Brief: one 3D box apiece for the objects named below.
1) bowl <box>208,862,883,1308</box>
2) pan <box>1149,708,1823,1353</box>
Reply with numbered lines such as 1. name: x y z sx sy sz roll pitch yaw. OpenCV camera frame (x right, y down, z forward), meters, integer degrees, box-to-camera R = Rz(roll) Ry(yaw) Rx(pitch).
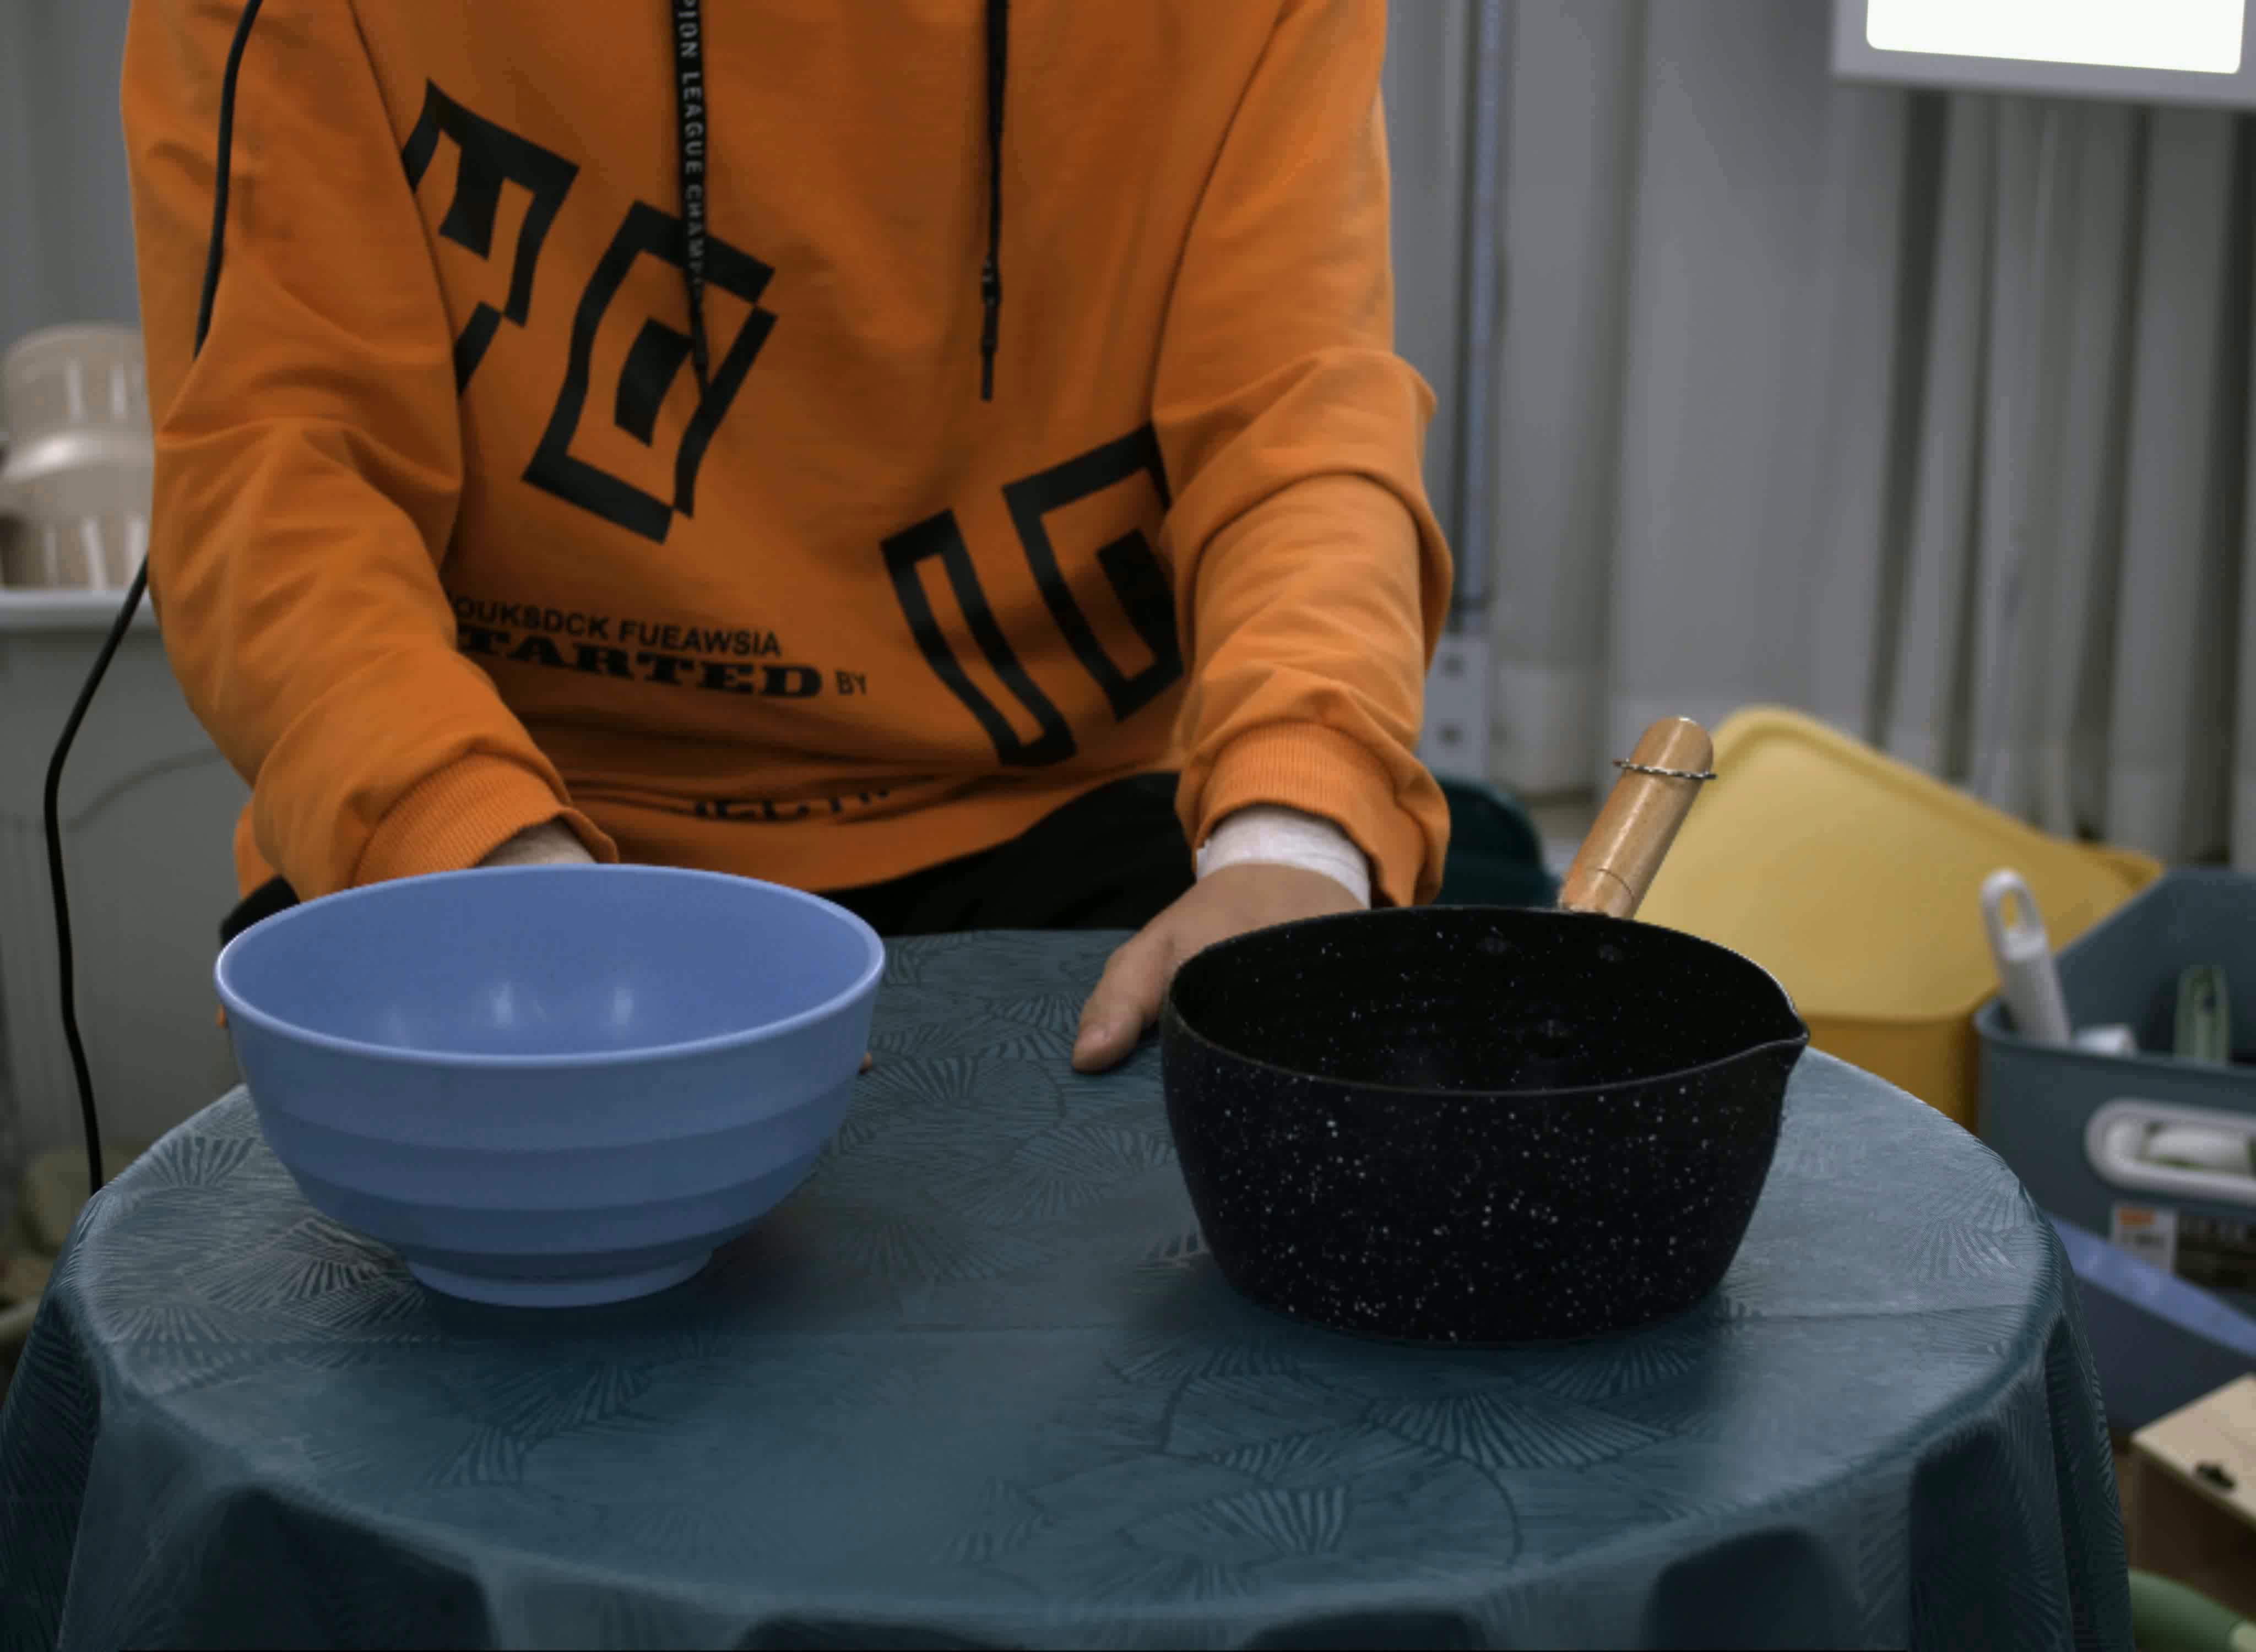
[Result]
1. bowl: -0.169 0.082 1.550 0.196 0.096 0.195 0 16 1
2. pan: 0.127 0.057 1.621 0.205 0.109 0.343 4 17 18
